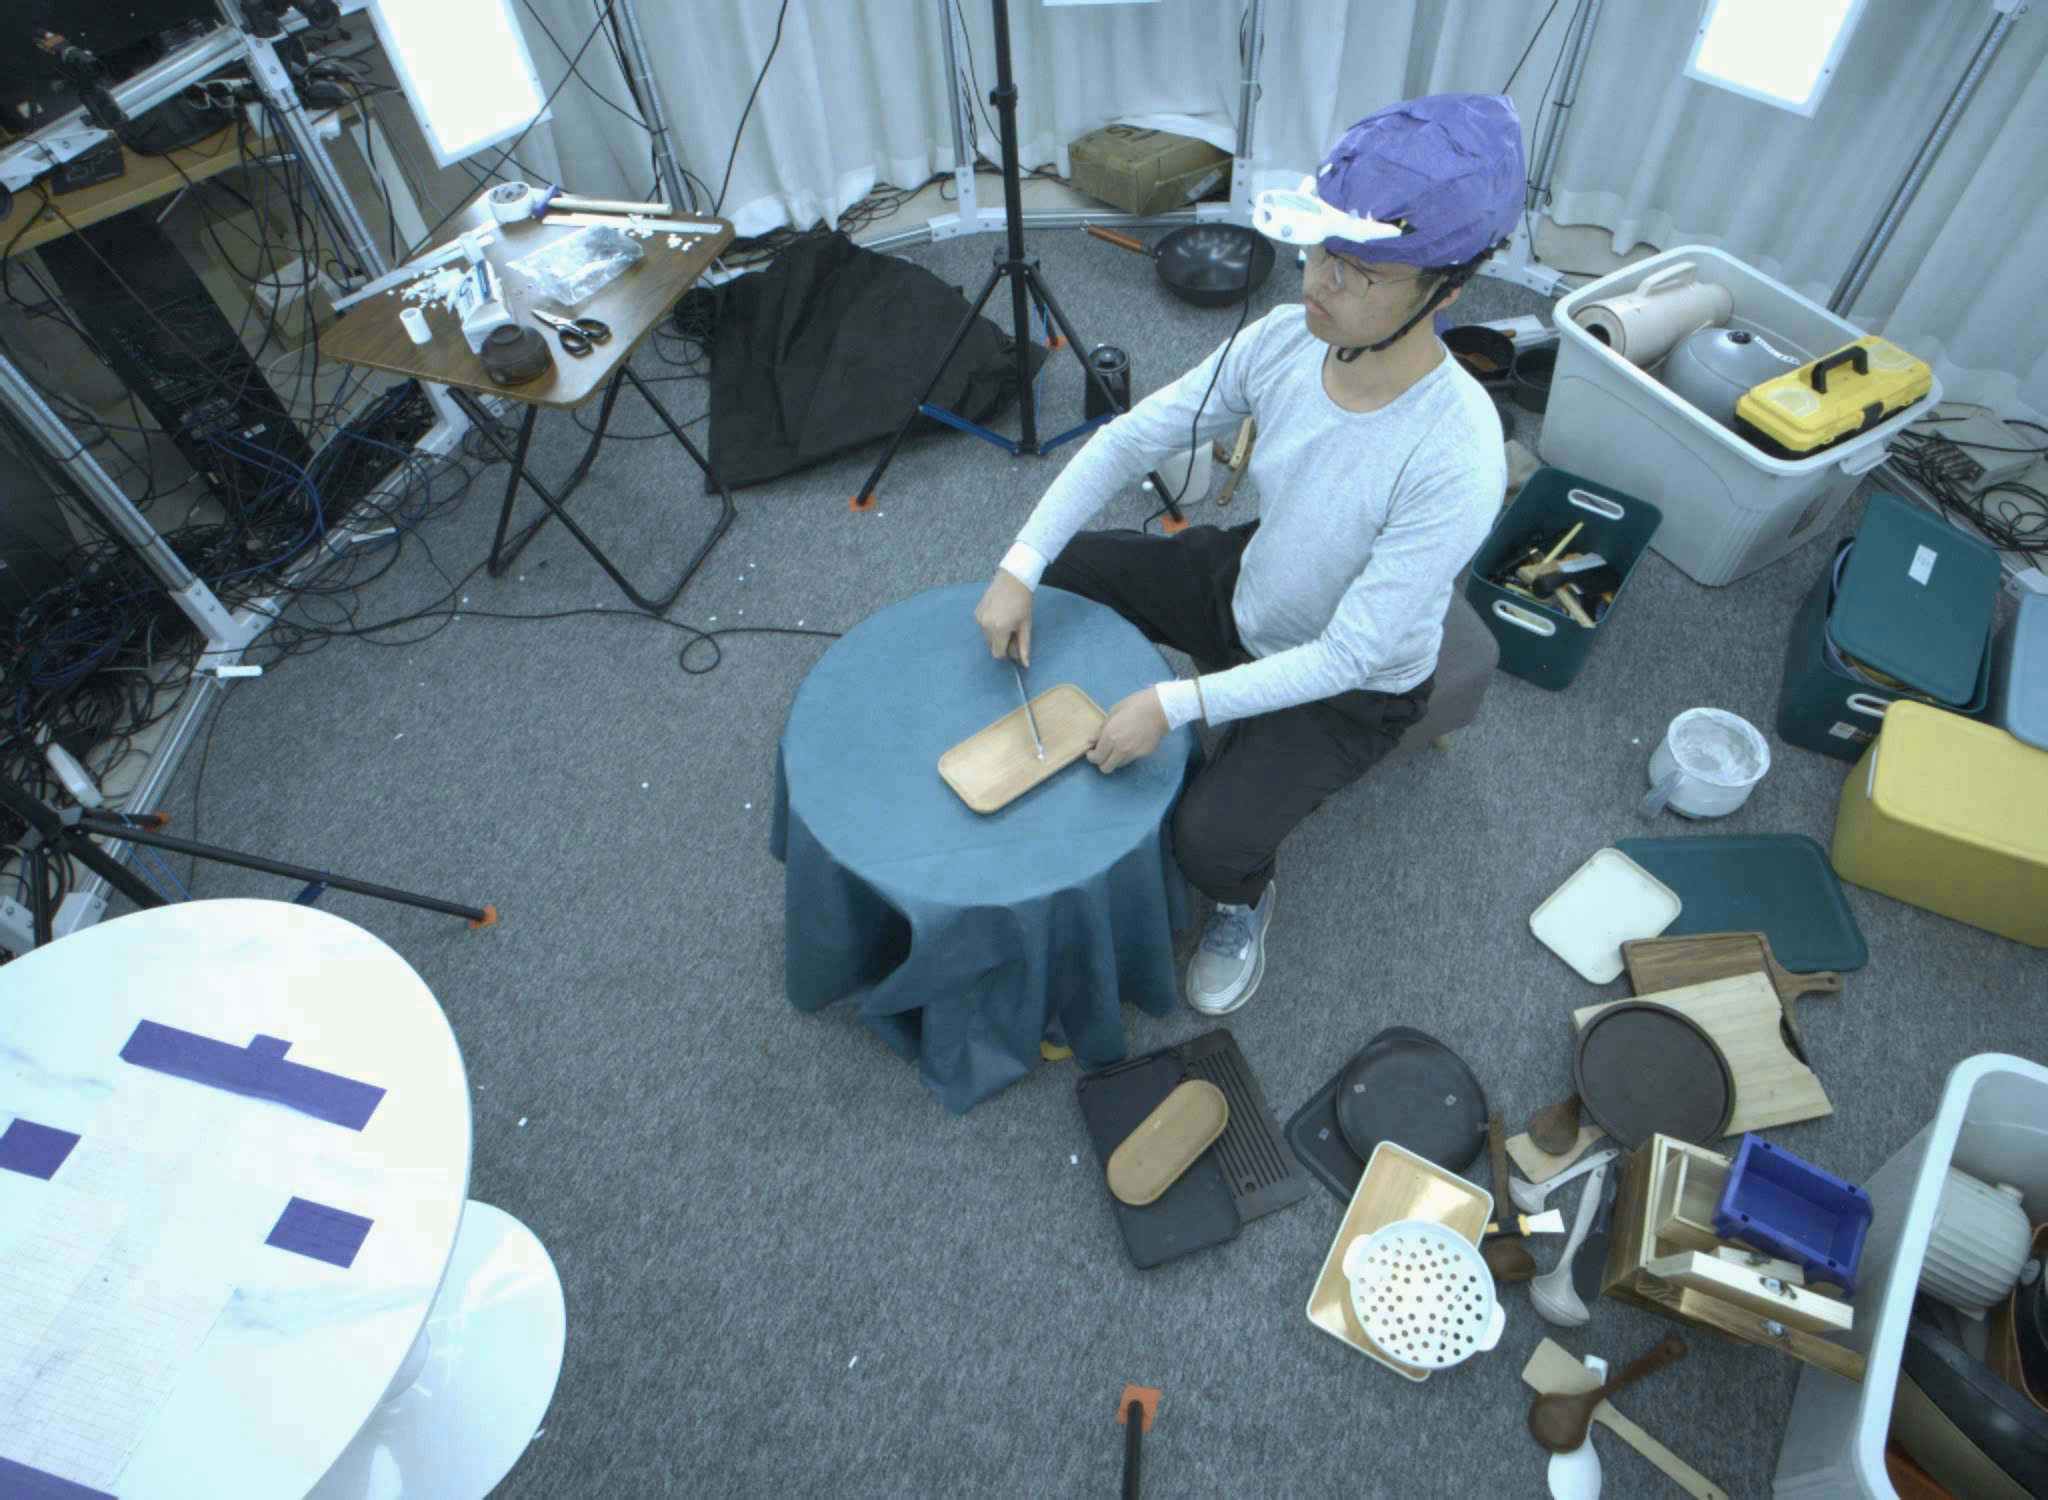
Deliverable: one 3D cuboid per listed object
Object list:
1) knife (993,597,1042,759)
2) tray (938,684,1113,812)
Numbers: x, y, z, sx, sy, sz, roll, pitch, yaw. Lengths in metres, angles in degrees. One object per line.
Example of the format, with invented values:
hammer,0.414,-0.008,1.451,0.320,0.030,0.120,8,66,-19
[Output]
knife,-0.007,-0.110,1.823,0.020,0.050,0.285,-12,62,-6
tray,0.004,-0.004,1.785,0.253,0.023,0.128,-31,59,-20
